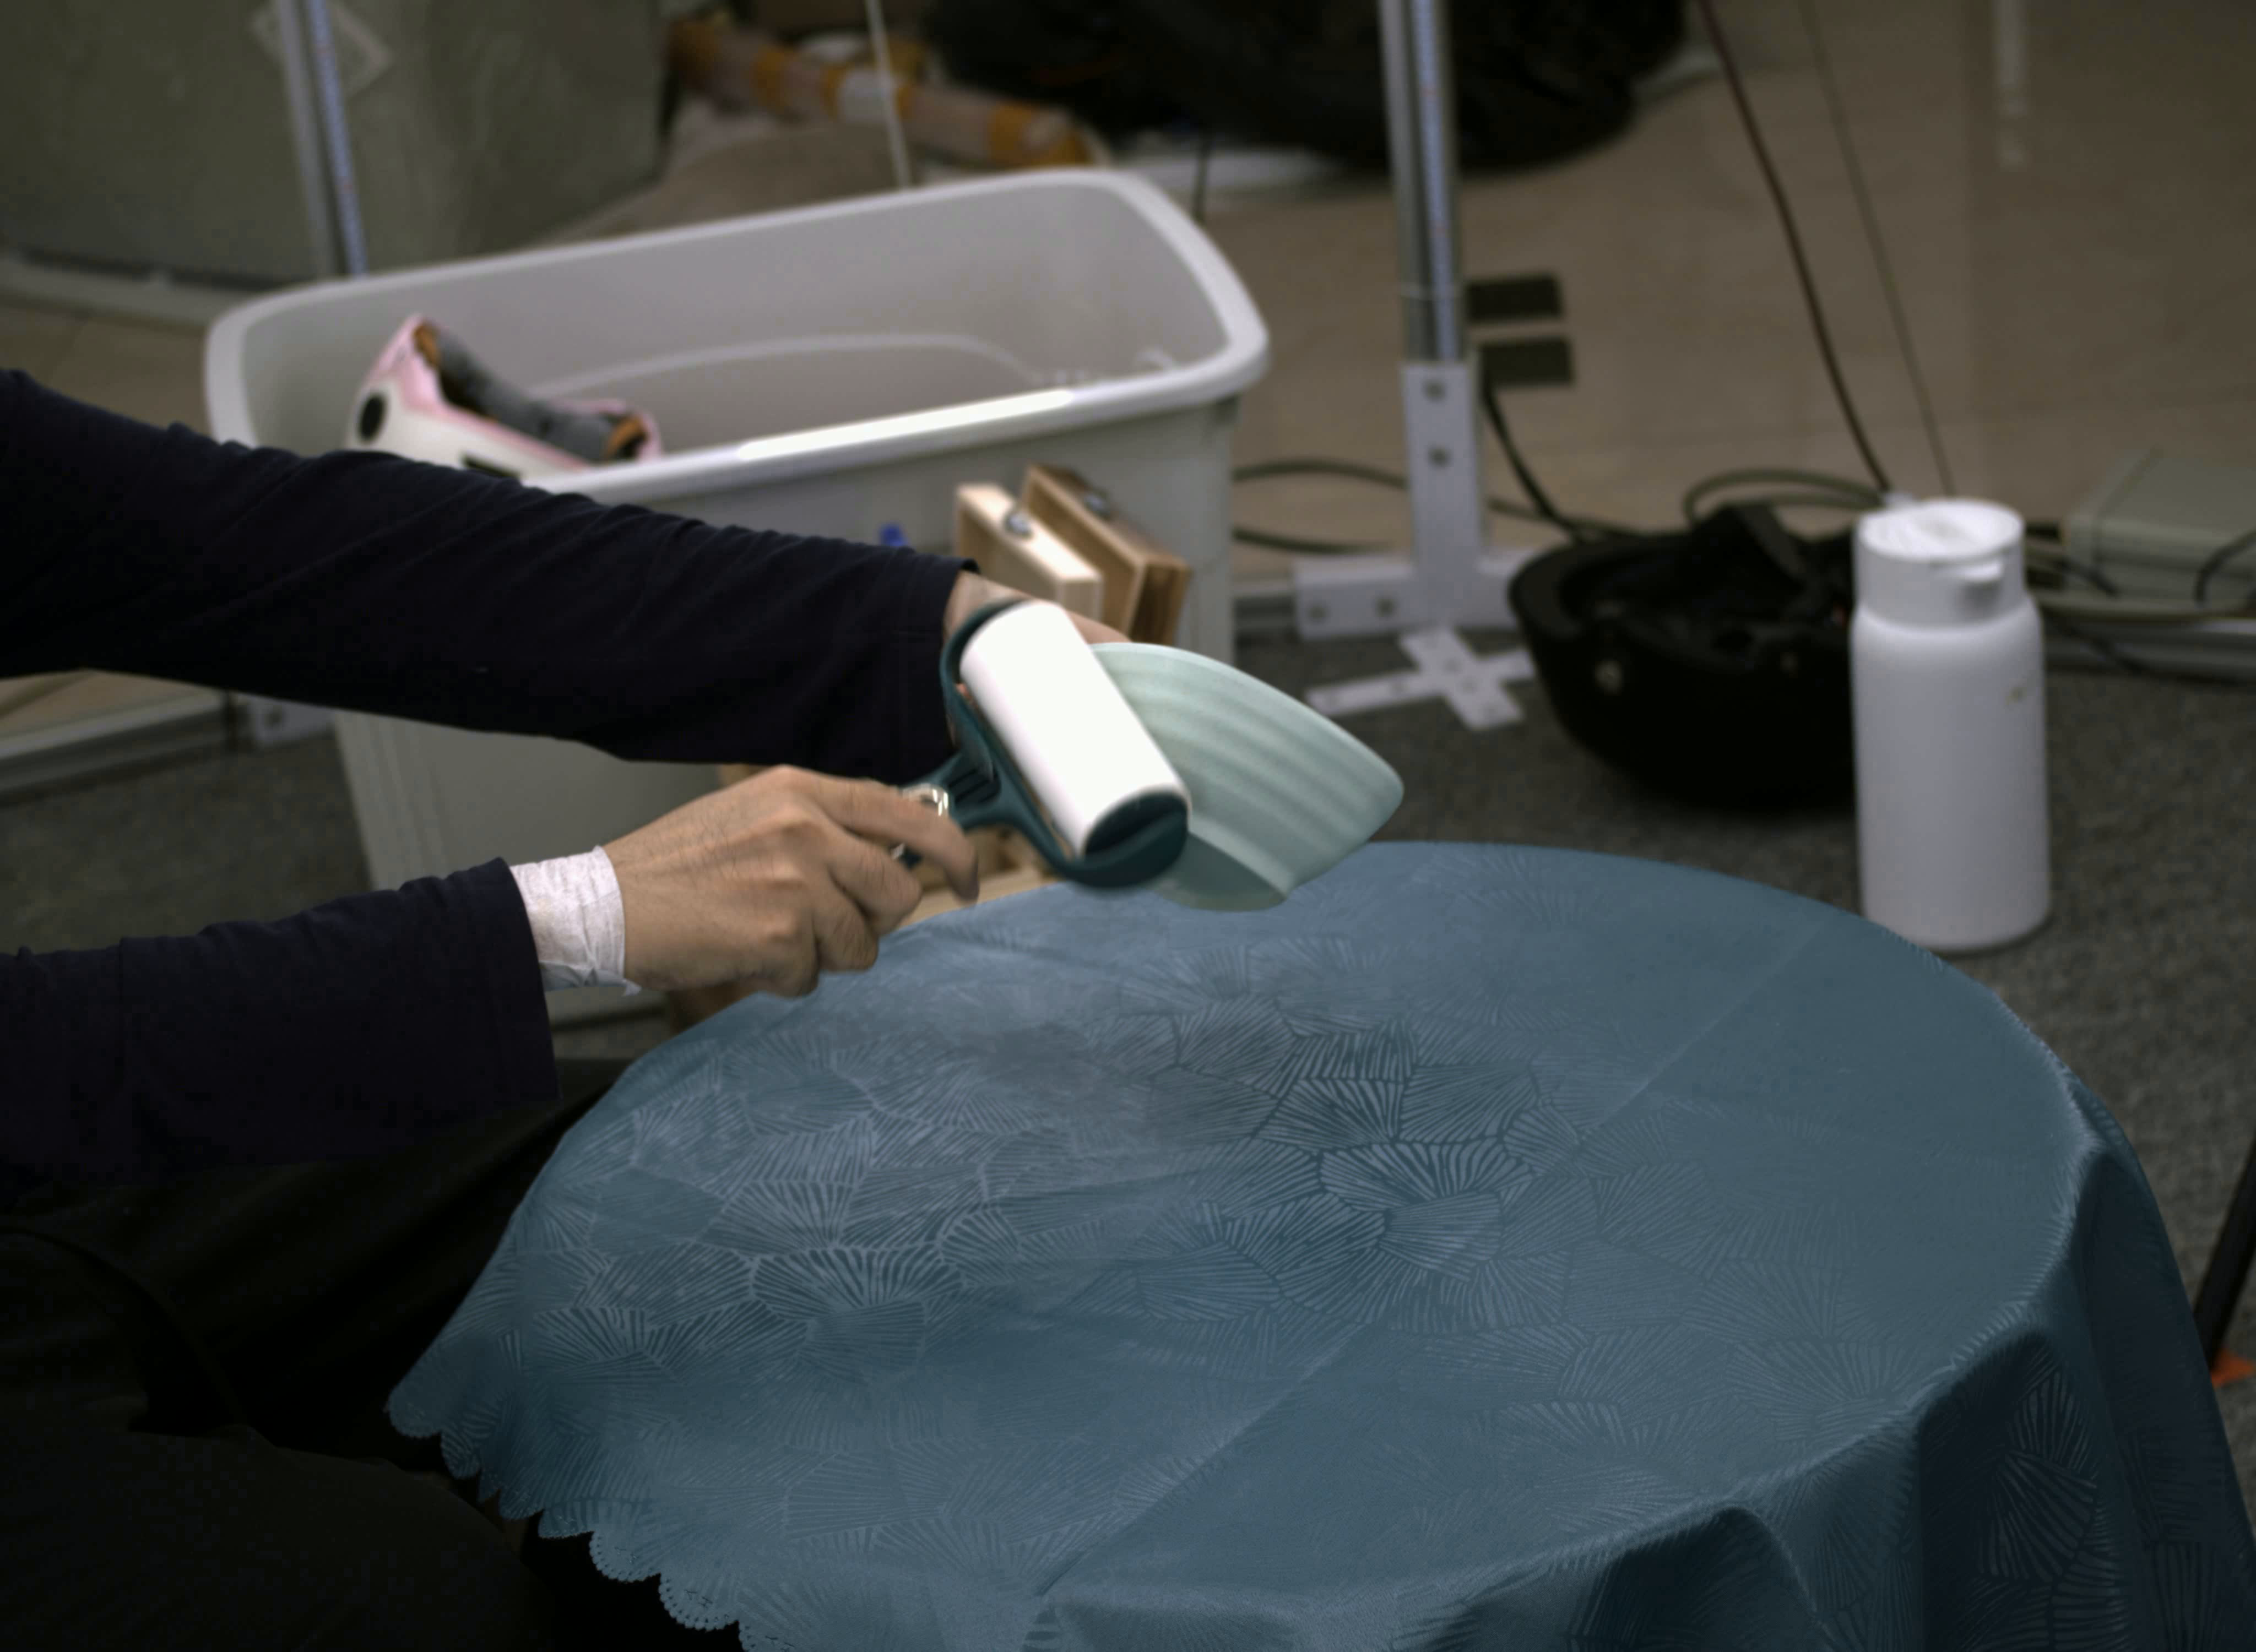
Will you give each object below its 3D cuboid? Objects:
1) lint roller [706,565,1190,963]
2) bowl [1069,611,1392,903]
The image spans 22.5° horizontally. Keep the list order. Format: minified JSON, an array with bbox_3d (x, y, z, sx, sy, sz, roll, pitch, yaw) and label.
[{"bbox_3d":[-0.079,-0.008,2.082,0.179,0.049,0.132,-27,55,-10],"label":"lint roller"},{"bbox_3d":[0.023,-0.018,2.164,0.150,0.153,0.058,19,71,43],"label":"bowl"}]
